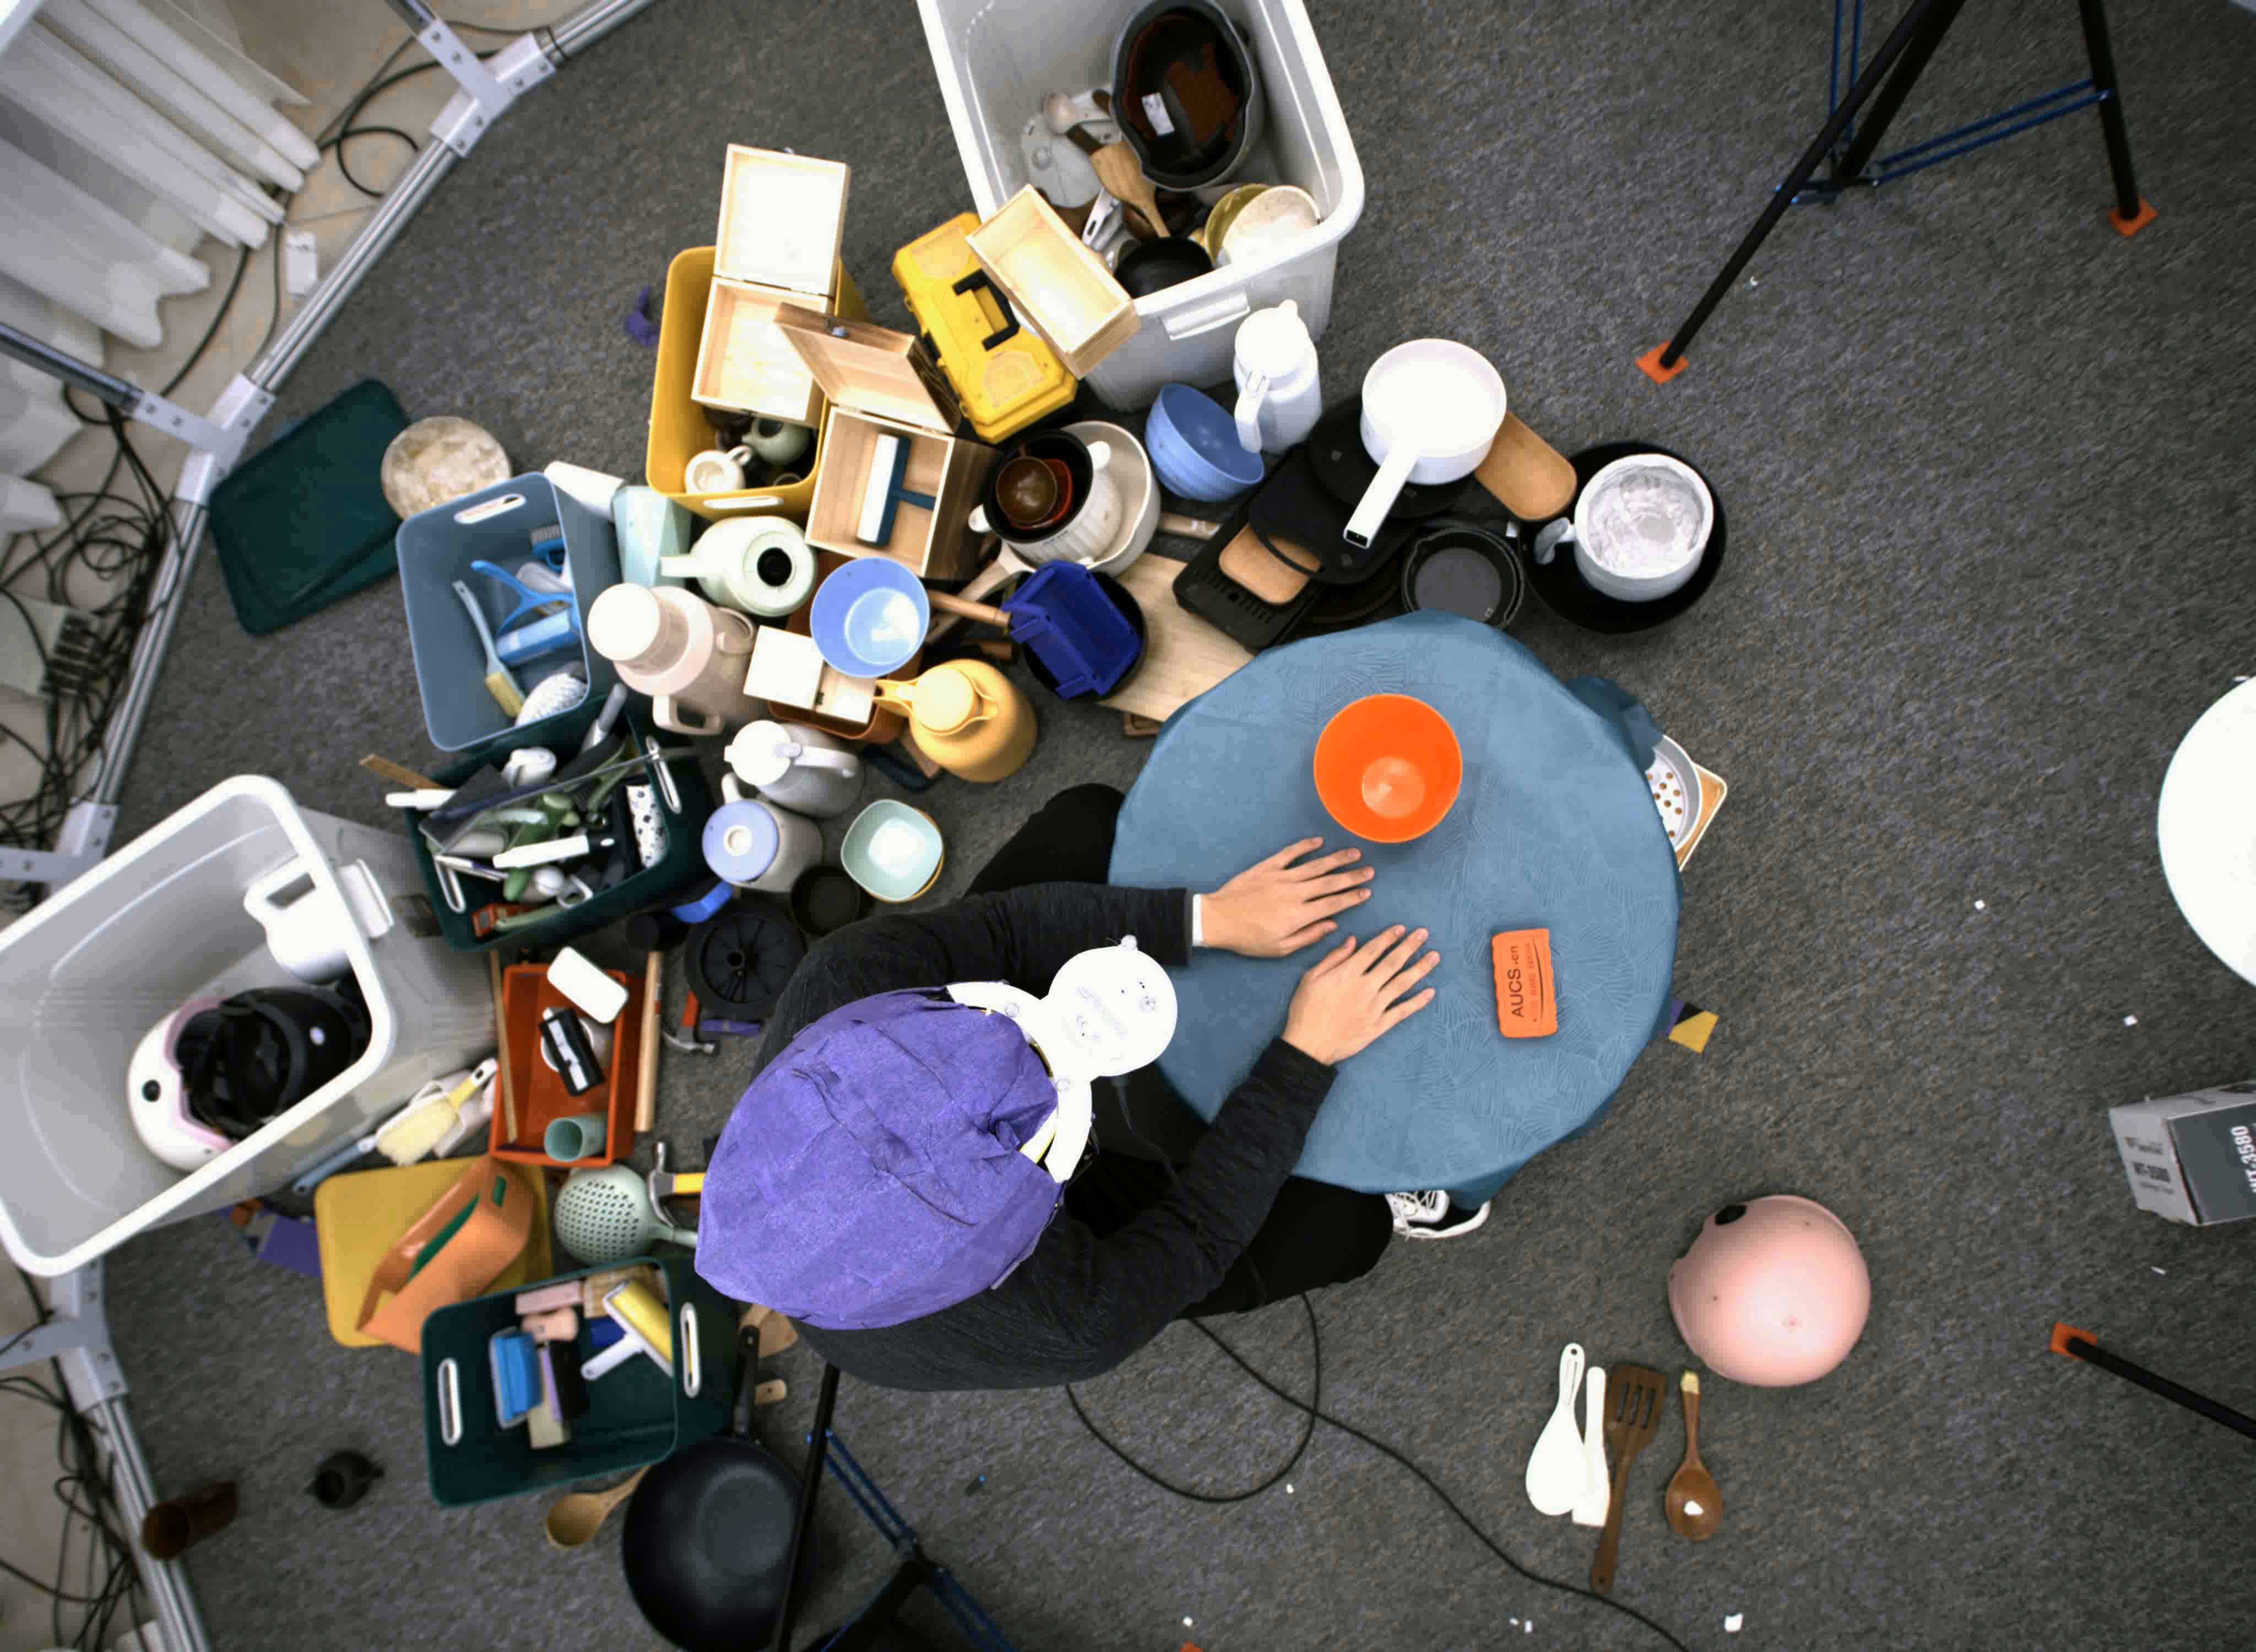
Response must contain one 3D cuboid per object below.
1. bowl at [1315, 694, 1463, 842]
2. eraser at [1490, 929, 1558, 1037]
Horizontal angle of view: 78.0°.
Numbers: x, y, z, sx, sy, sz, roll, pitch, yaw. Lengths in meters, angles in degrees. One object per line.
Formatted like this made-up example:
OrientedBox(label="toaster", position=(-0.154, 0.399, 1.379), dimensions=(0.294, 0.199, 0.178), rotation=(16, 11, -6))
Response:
OrientedBox(label="bowl", position=(0.268, -0.056, 1.416), dimensions=(0.148, 0.105, 0.147), rotation=(-1, 85, 10))
OrientedBox(label="eraser", position=(0.407, 0.159, 1.415), dimensions=(0.059, 0.023, 0.107), rotation=(-5, 84, 8))
